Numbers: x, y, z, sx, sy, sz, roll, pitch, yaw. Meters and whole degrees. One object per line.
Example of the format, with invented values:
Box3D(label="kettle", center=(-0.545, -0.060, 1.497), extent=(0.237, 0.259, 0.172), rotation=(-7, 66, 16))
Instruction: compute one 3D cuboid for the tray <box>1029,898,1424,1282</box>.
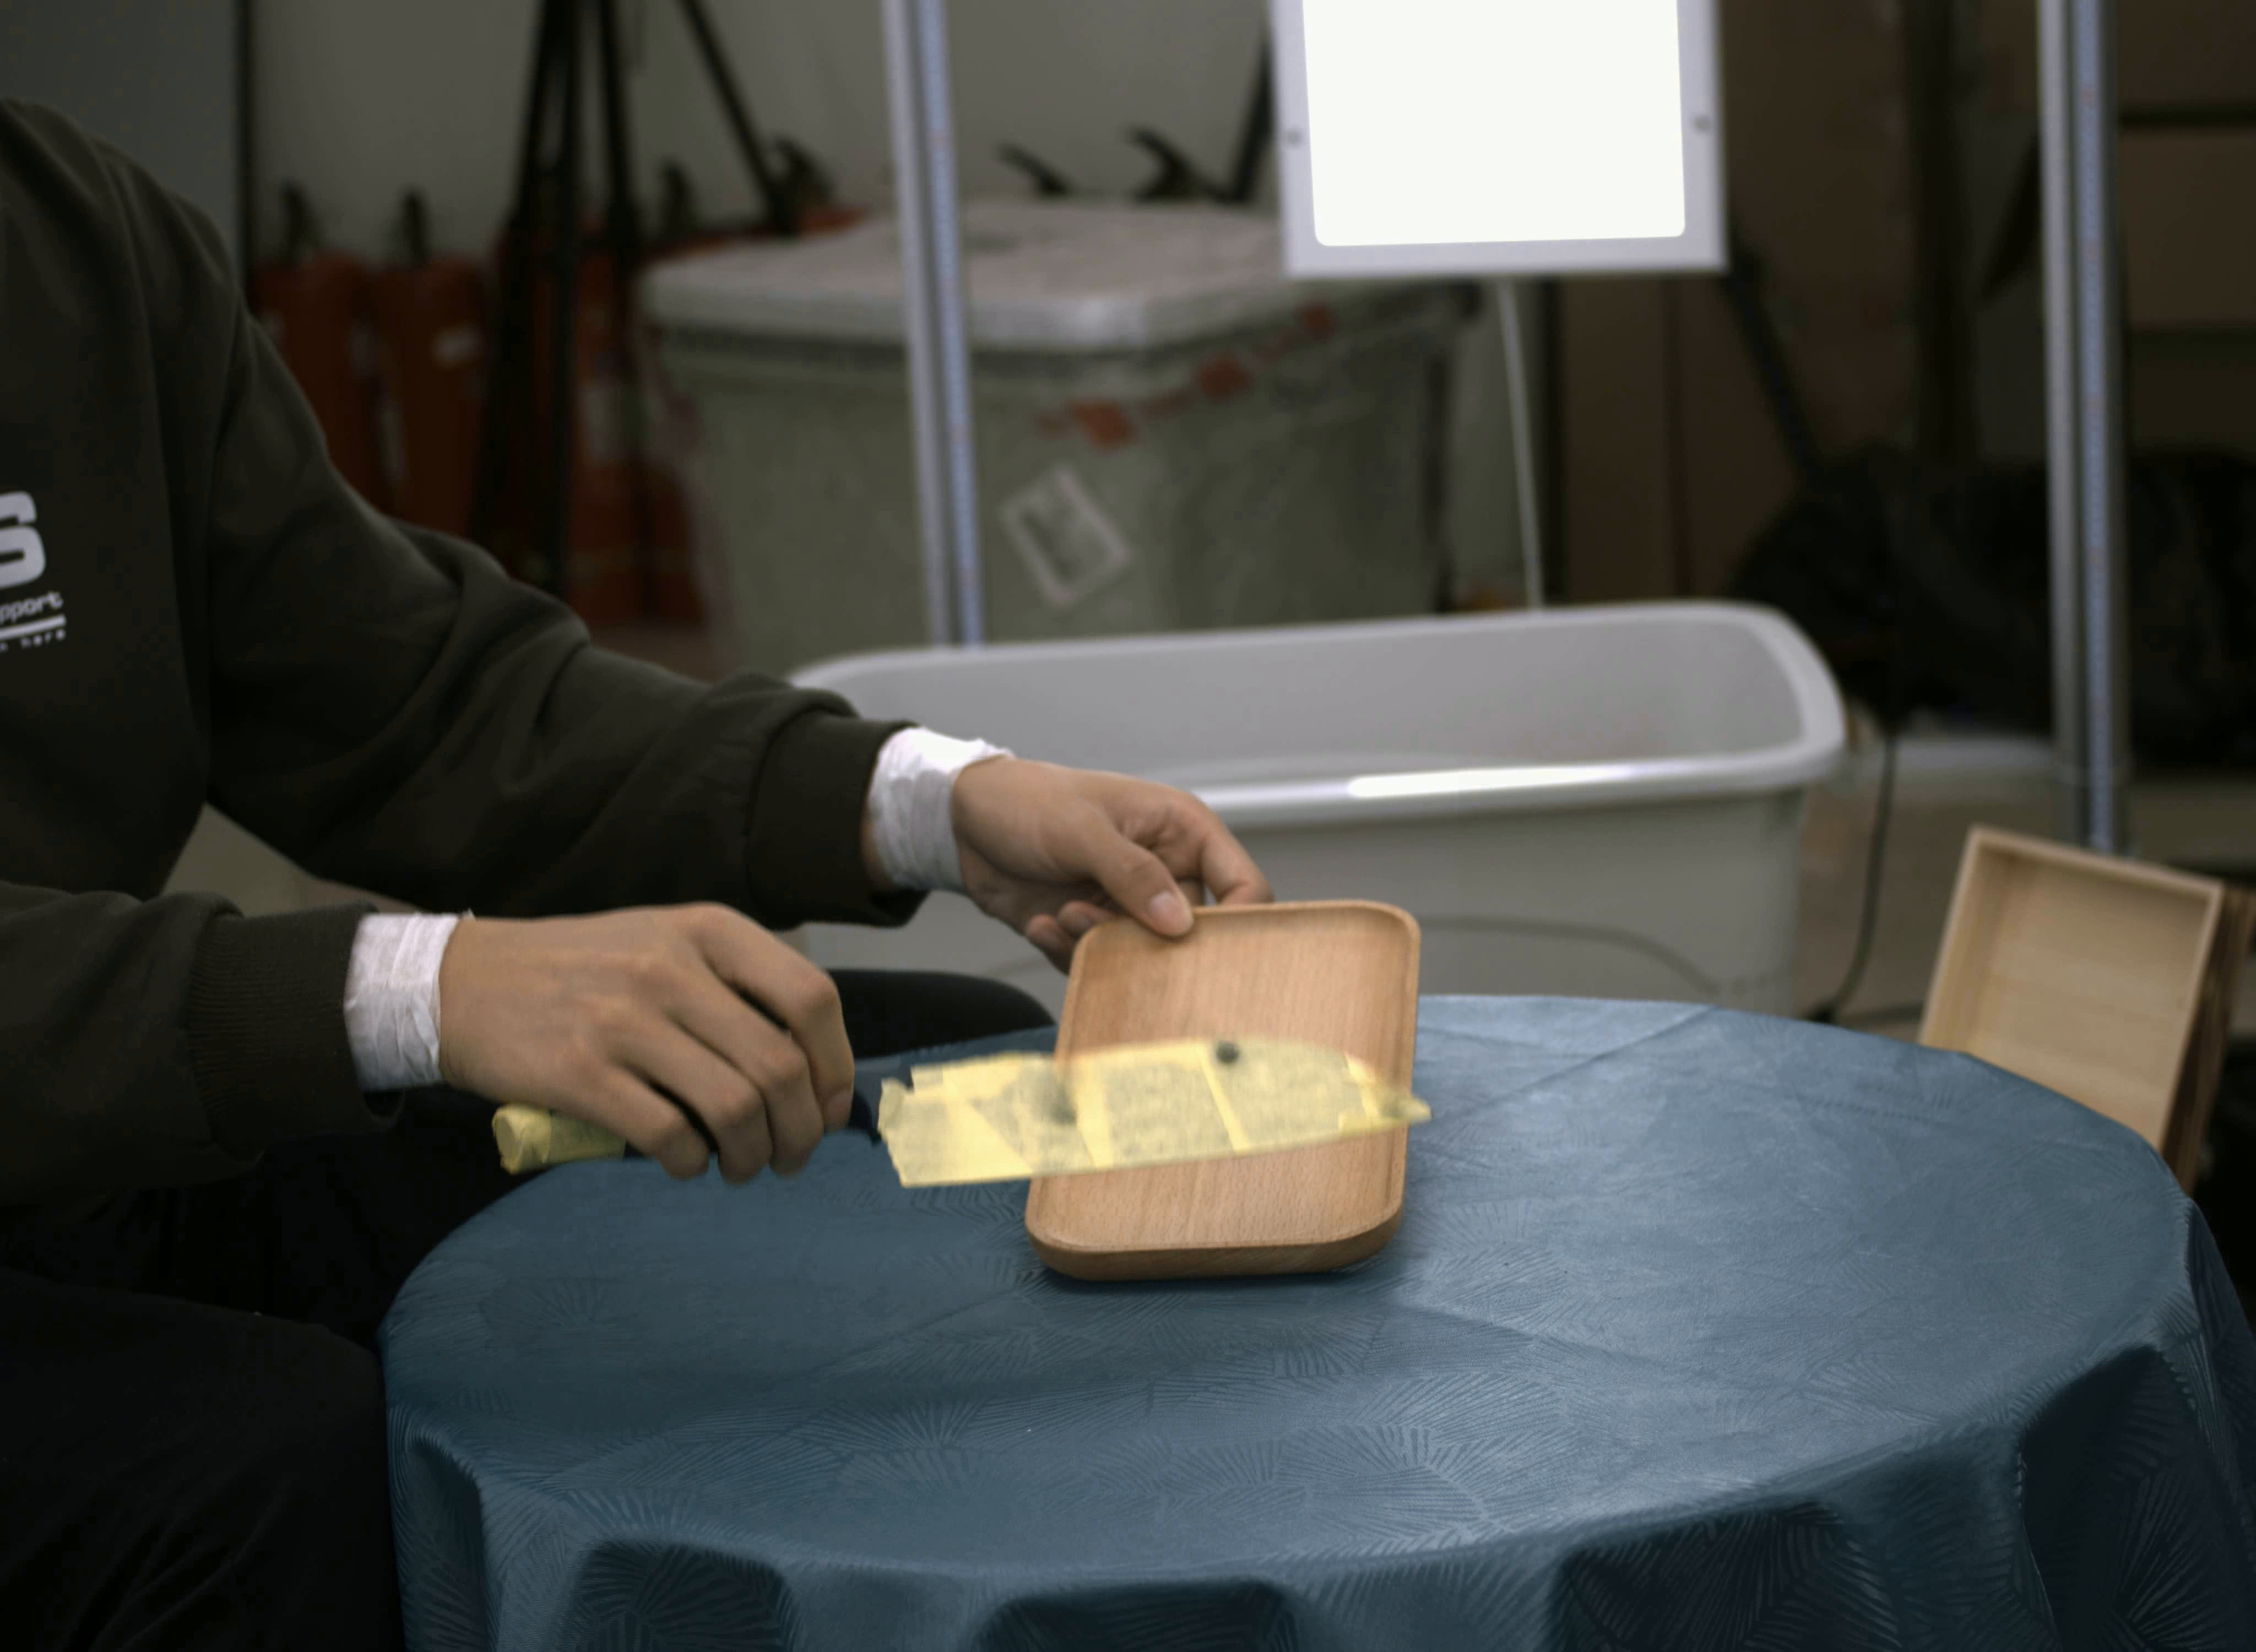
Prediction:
Box3D(label="tray", center=(0.038, 0.089, 1.906), extent=(0.131, 0.023, 0.249), rotation=(-6, 26, 8))

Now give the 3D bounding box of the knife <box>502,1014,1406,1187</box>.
Box3D(label="knife", center=(-0.053, 0.091, 1.746), extent=(0.287, 0.027, 0.081), rotation=(-7, 27, -4))
